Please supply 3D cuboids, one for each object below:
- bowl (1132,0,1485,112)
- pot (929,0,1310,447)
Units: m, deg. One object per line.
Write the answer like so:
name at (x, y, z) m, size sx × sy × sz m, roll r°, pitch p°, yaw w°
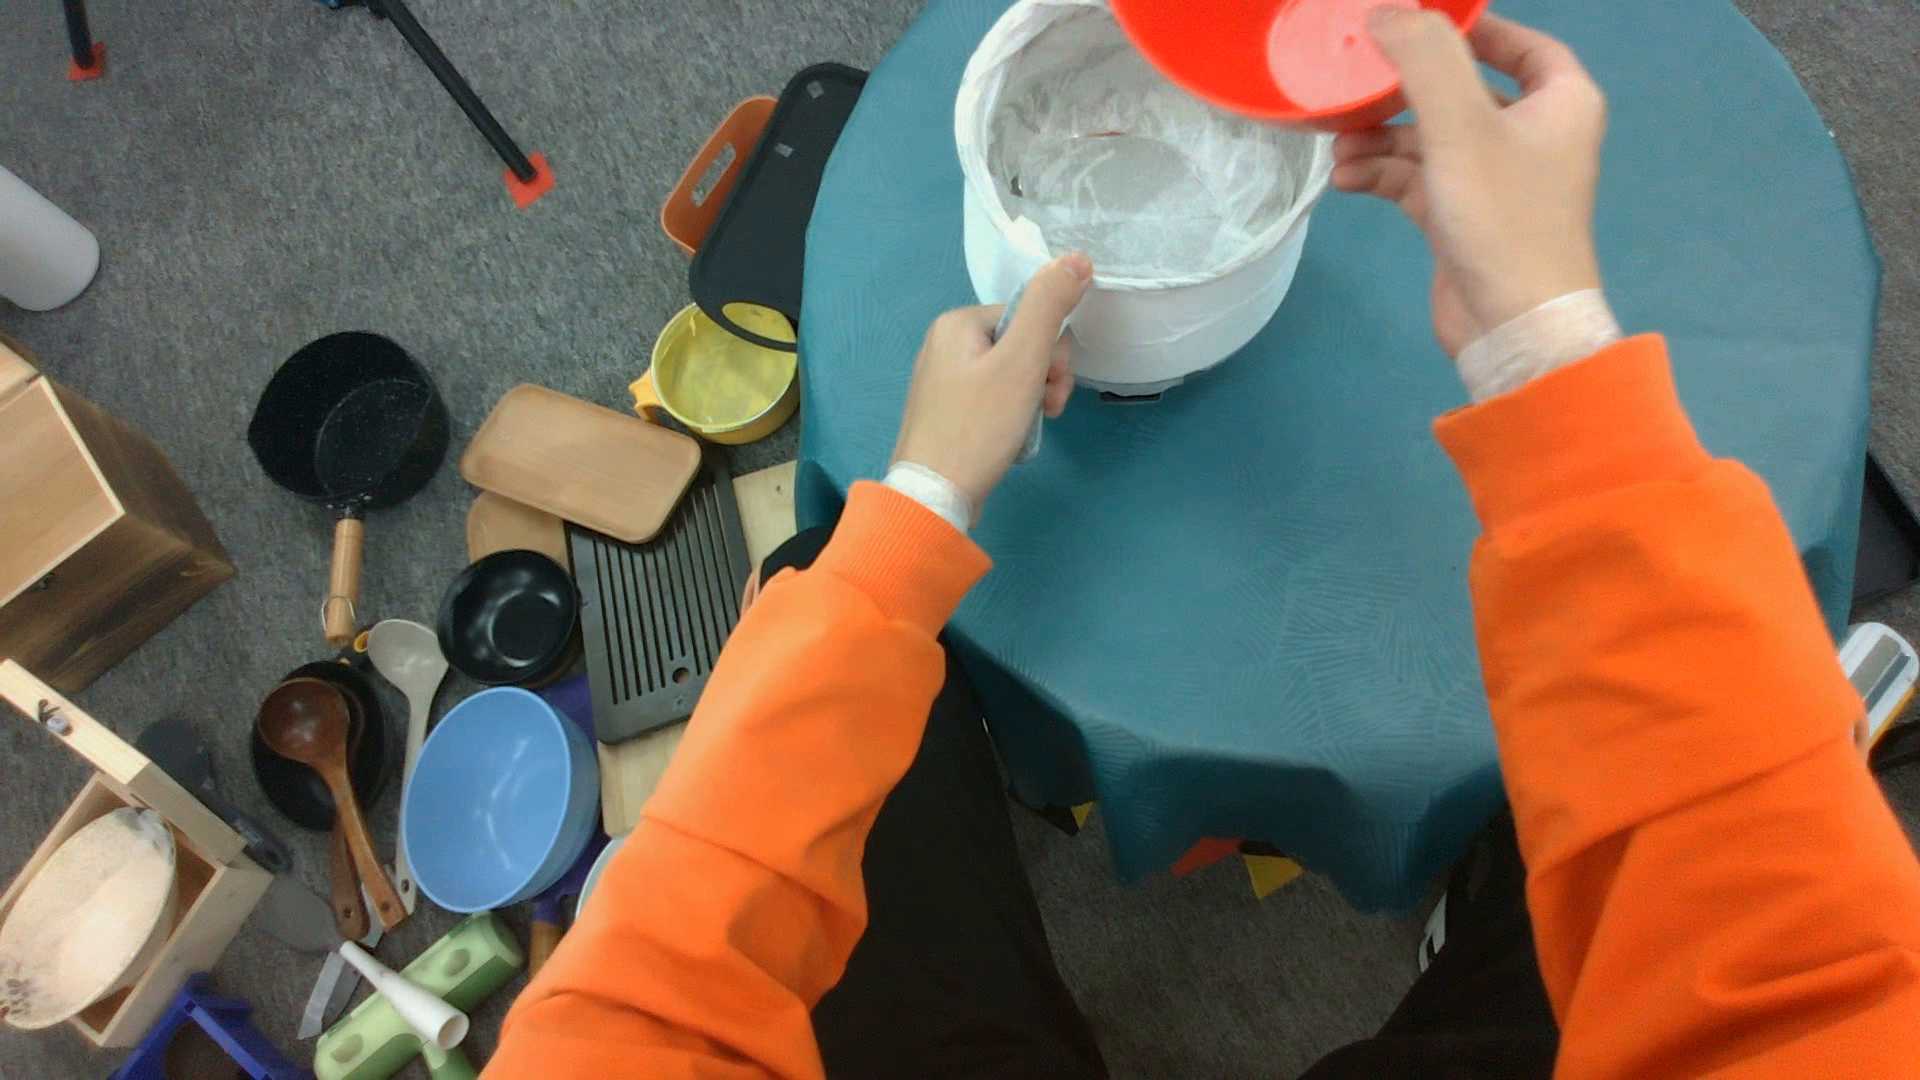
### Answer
bowl at (0.138, -0.229, 0.527) m, size 0.148 × 0.105 × 0.148 m, roll -2°, pitch 84°, yaw 18°
pot at (0.063, -0.160, 0.691) m, size 0.178 × 0.136 × 0.234 m, roll 26°, pitch 74°, yaw 11°
